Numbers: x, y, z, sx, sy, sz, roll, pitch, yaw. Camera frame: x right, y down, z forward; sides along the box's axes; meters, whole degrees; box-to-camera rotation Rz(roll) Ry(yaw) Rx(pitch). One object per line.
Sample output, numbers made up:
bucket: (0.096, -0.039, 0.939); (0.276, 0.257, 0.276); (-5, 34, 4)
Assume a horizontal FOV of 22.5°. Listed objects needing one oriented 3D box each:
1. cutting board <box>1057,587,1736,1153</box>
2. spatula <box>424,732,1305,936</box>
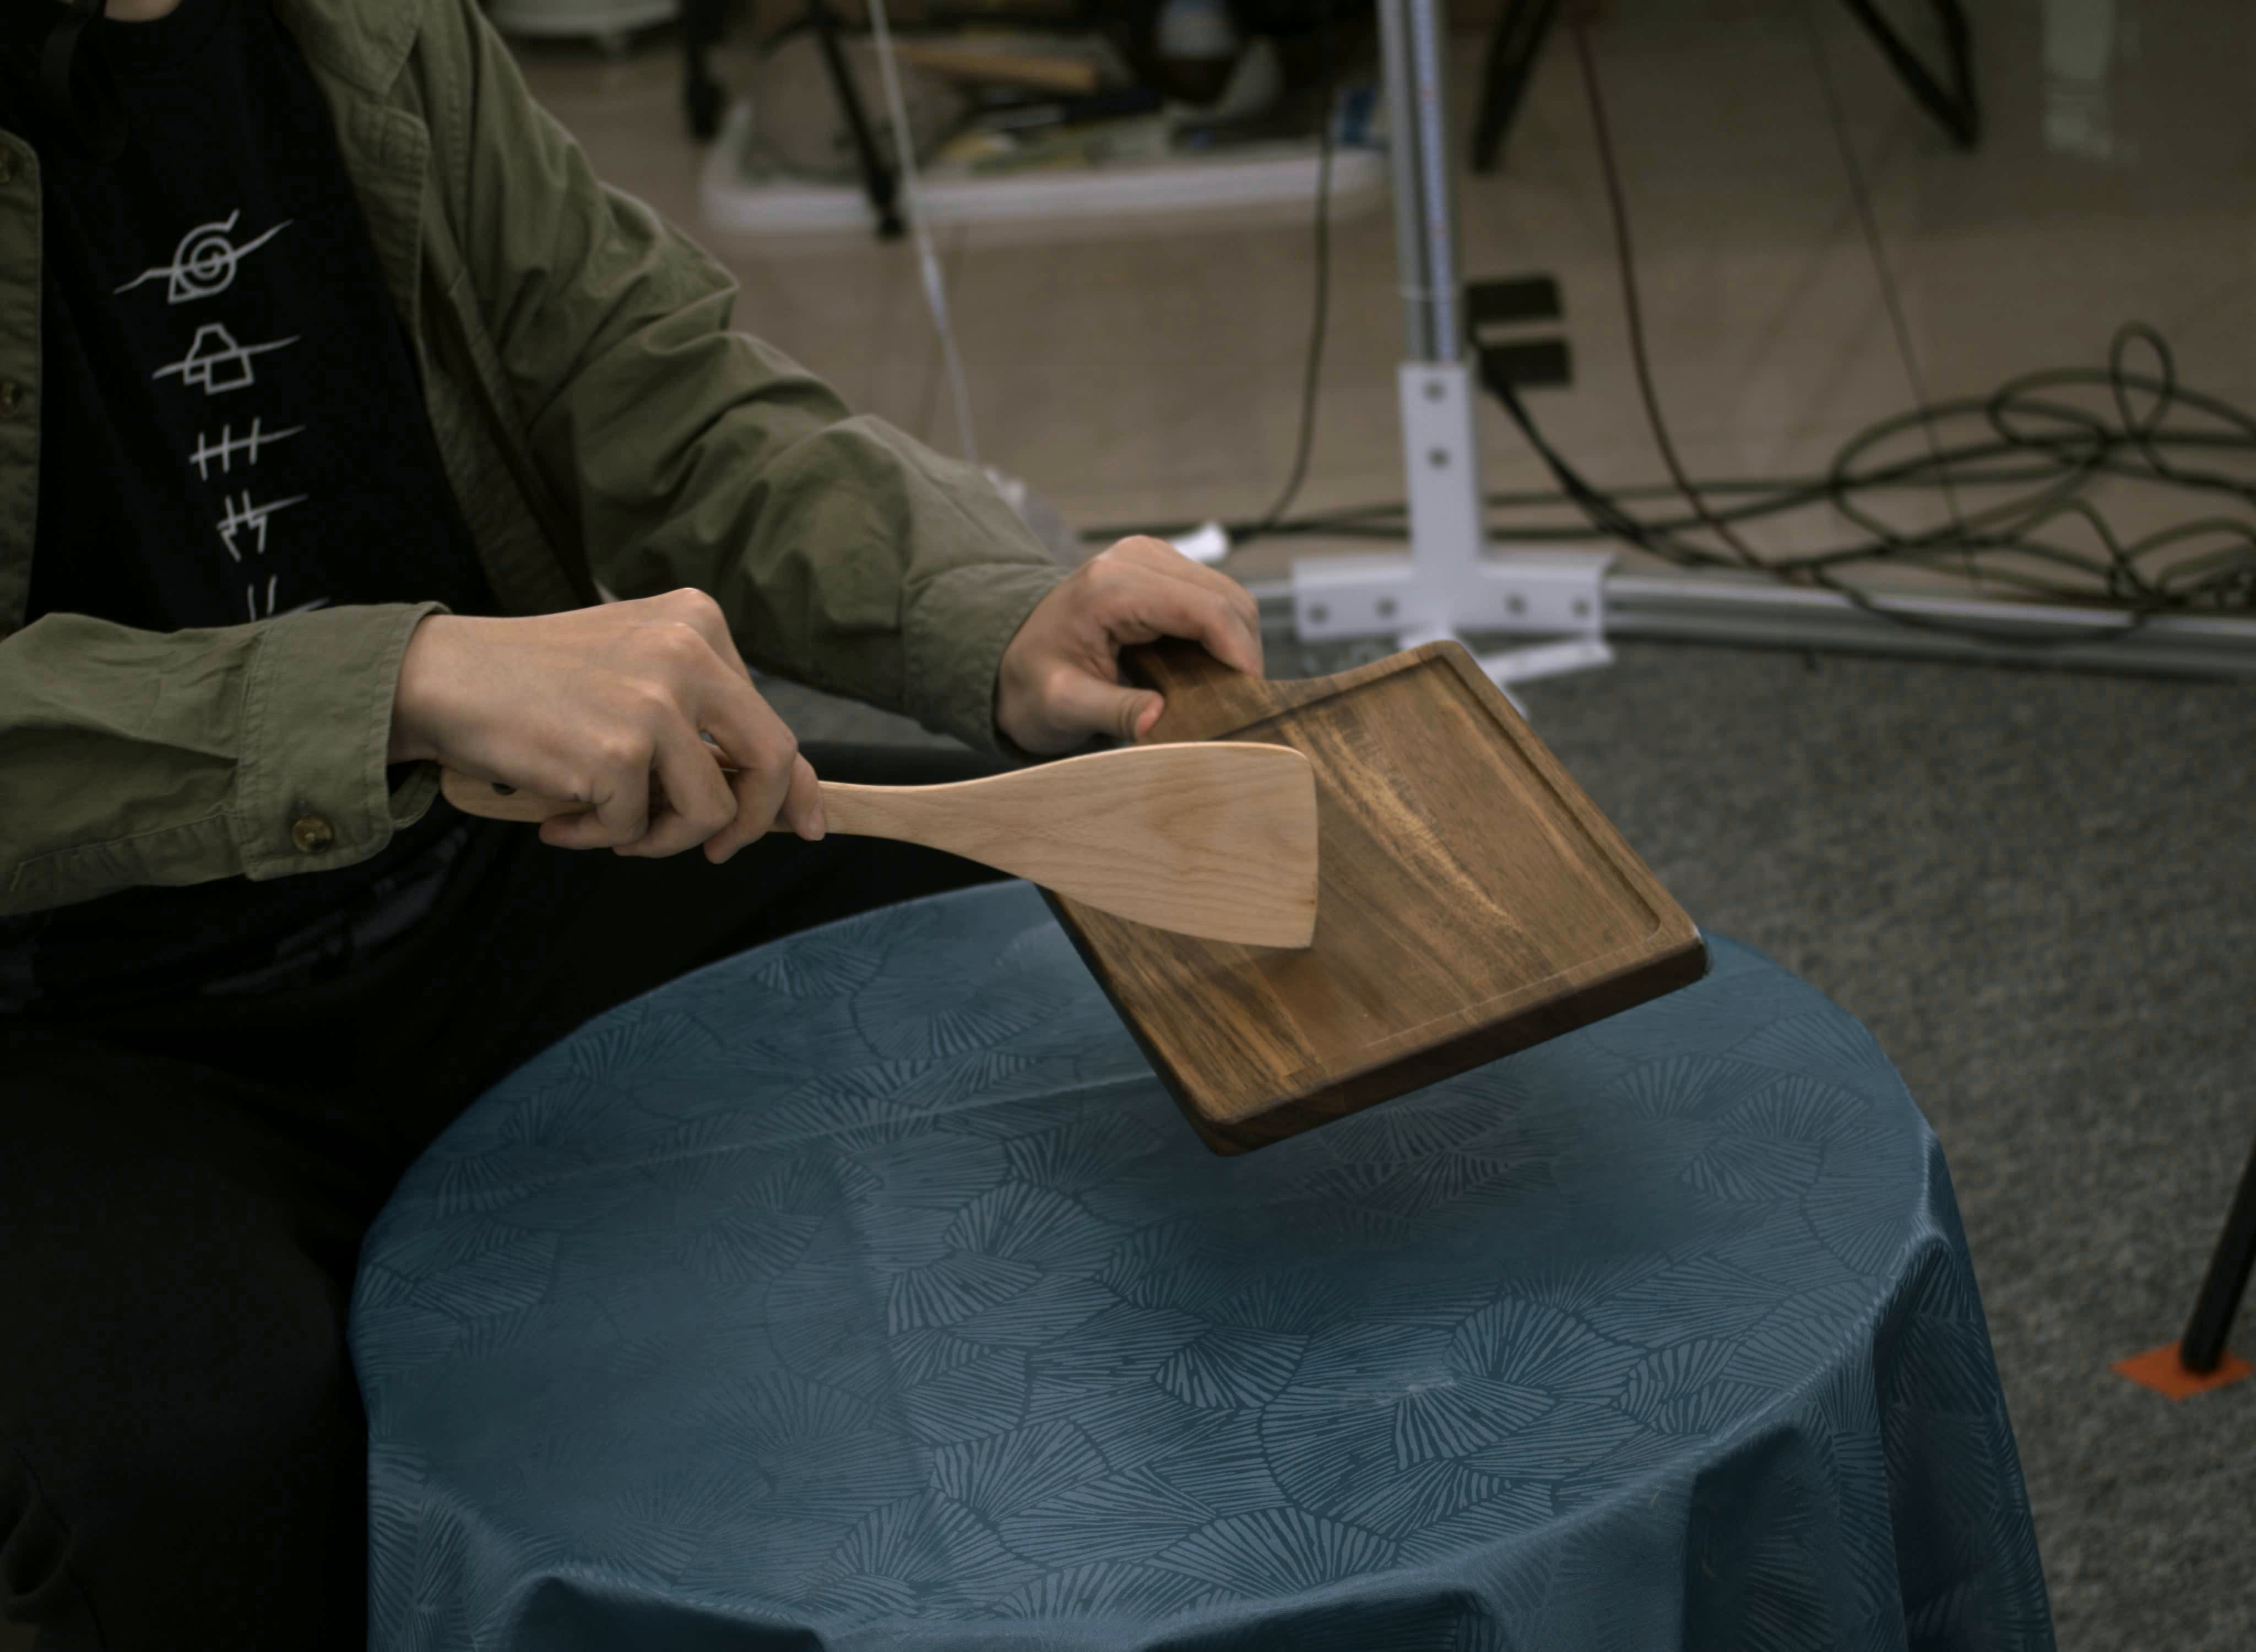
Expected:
cutting board: (0.076, -0.004, 2.174); (0.200, 0.023, 0.346); (-20, 35, -8)
spatula: (-0.091, -0.006, 2.046); (0.327, 0.081, 0.016); (3, 24, -15)
